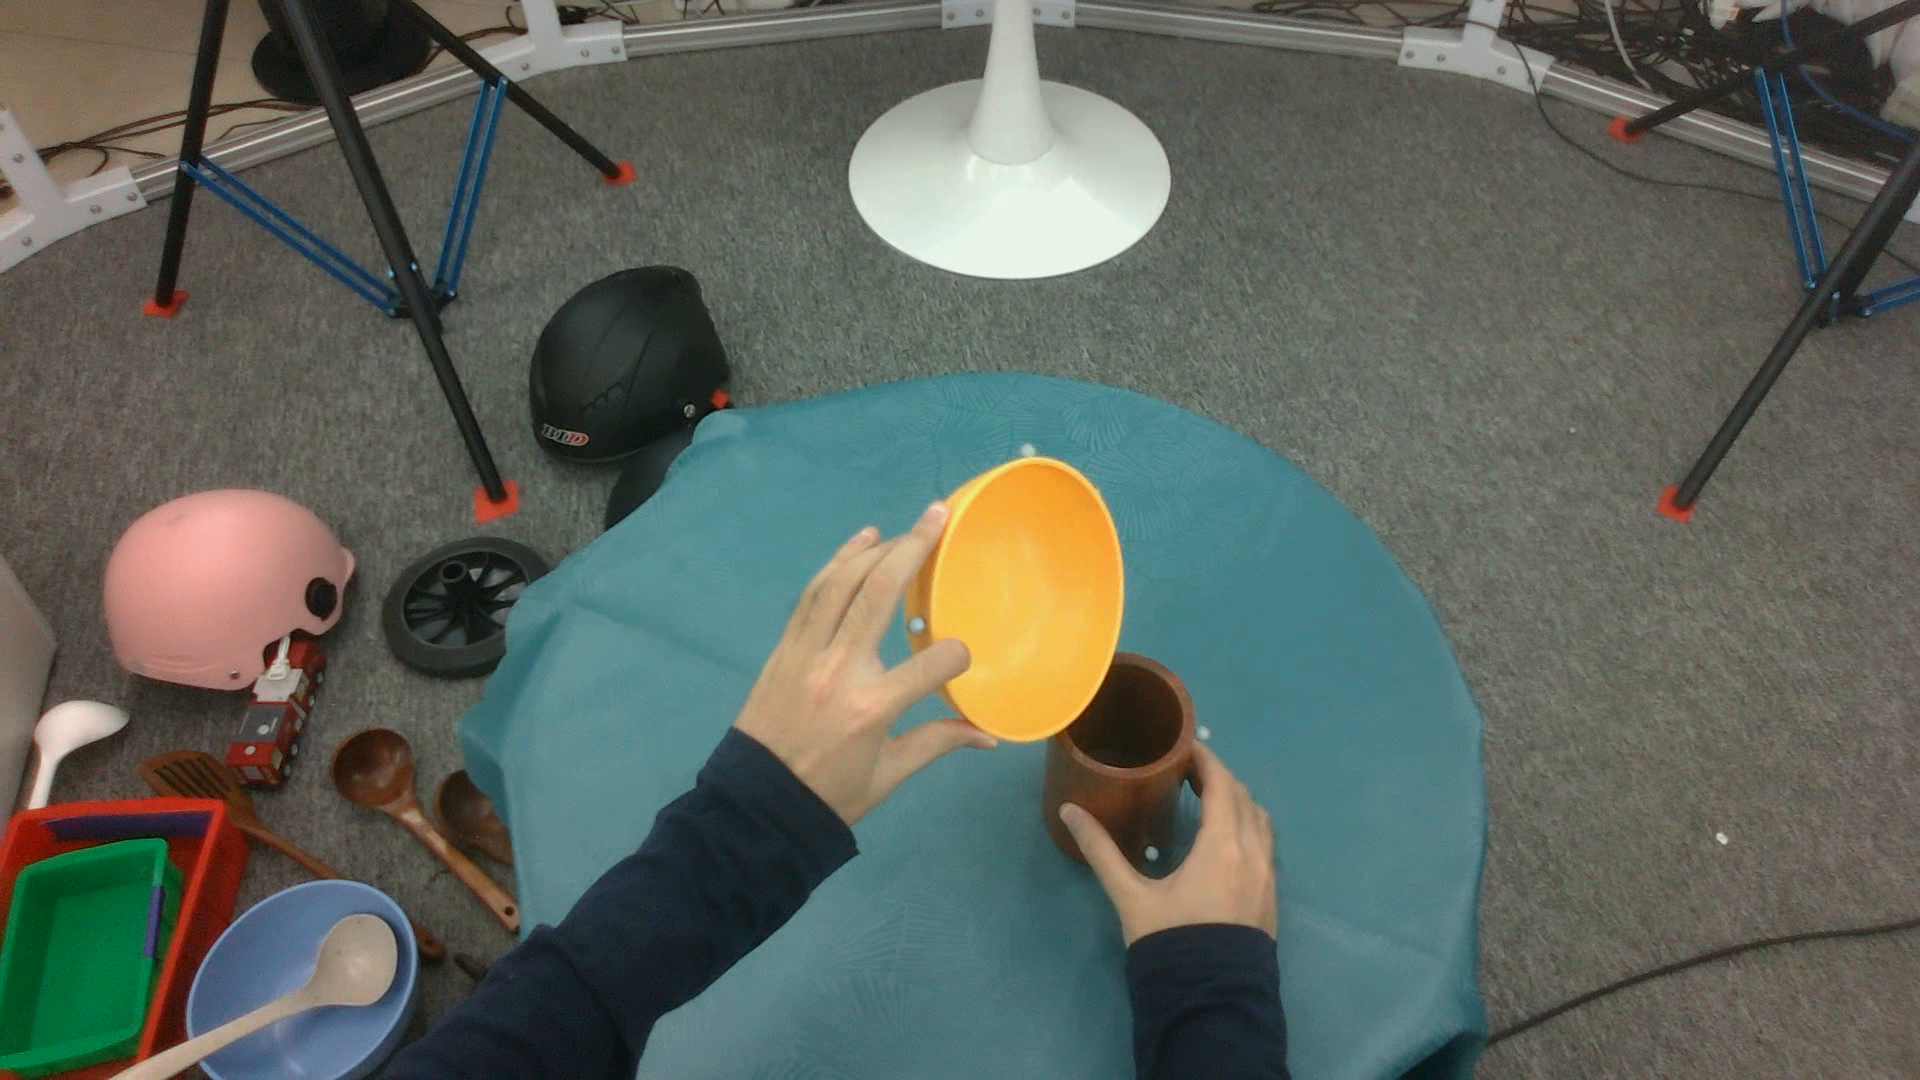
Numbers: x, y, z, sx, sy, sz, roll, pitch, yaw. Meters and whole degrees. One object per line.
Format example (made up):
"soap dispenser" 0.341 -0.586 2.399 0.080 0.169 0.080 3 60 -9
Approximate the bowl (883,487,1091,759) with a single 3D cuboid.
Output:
"bowl" 0.004 0.038 0.725 0.060 0.145 0.146 14 49 38

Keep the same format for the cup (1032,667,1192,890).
"cup" 0.087 0.138 0.787 0.088 0.118 0.088 -2 50 3
